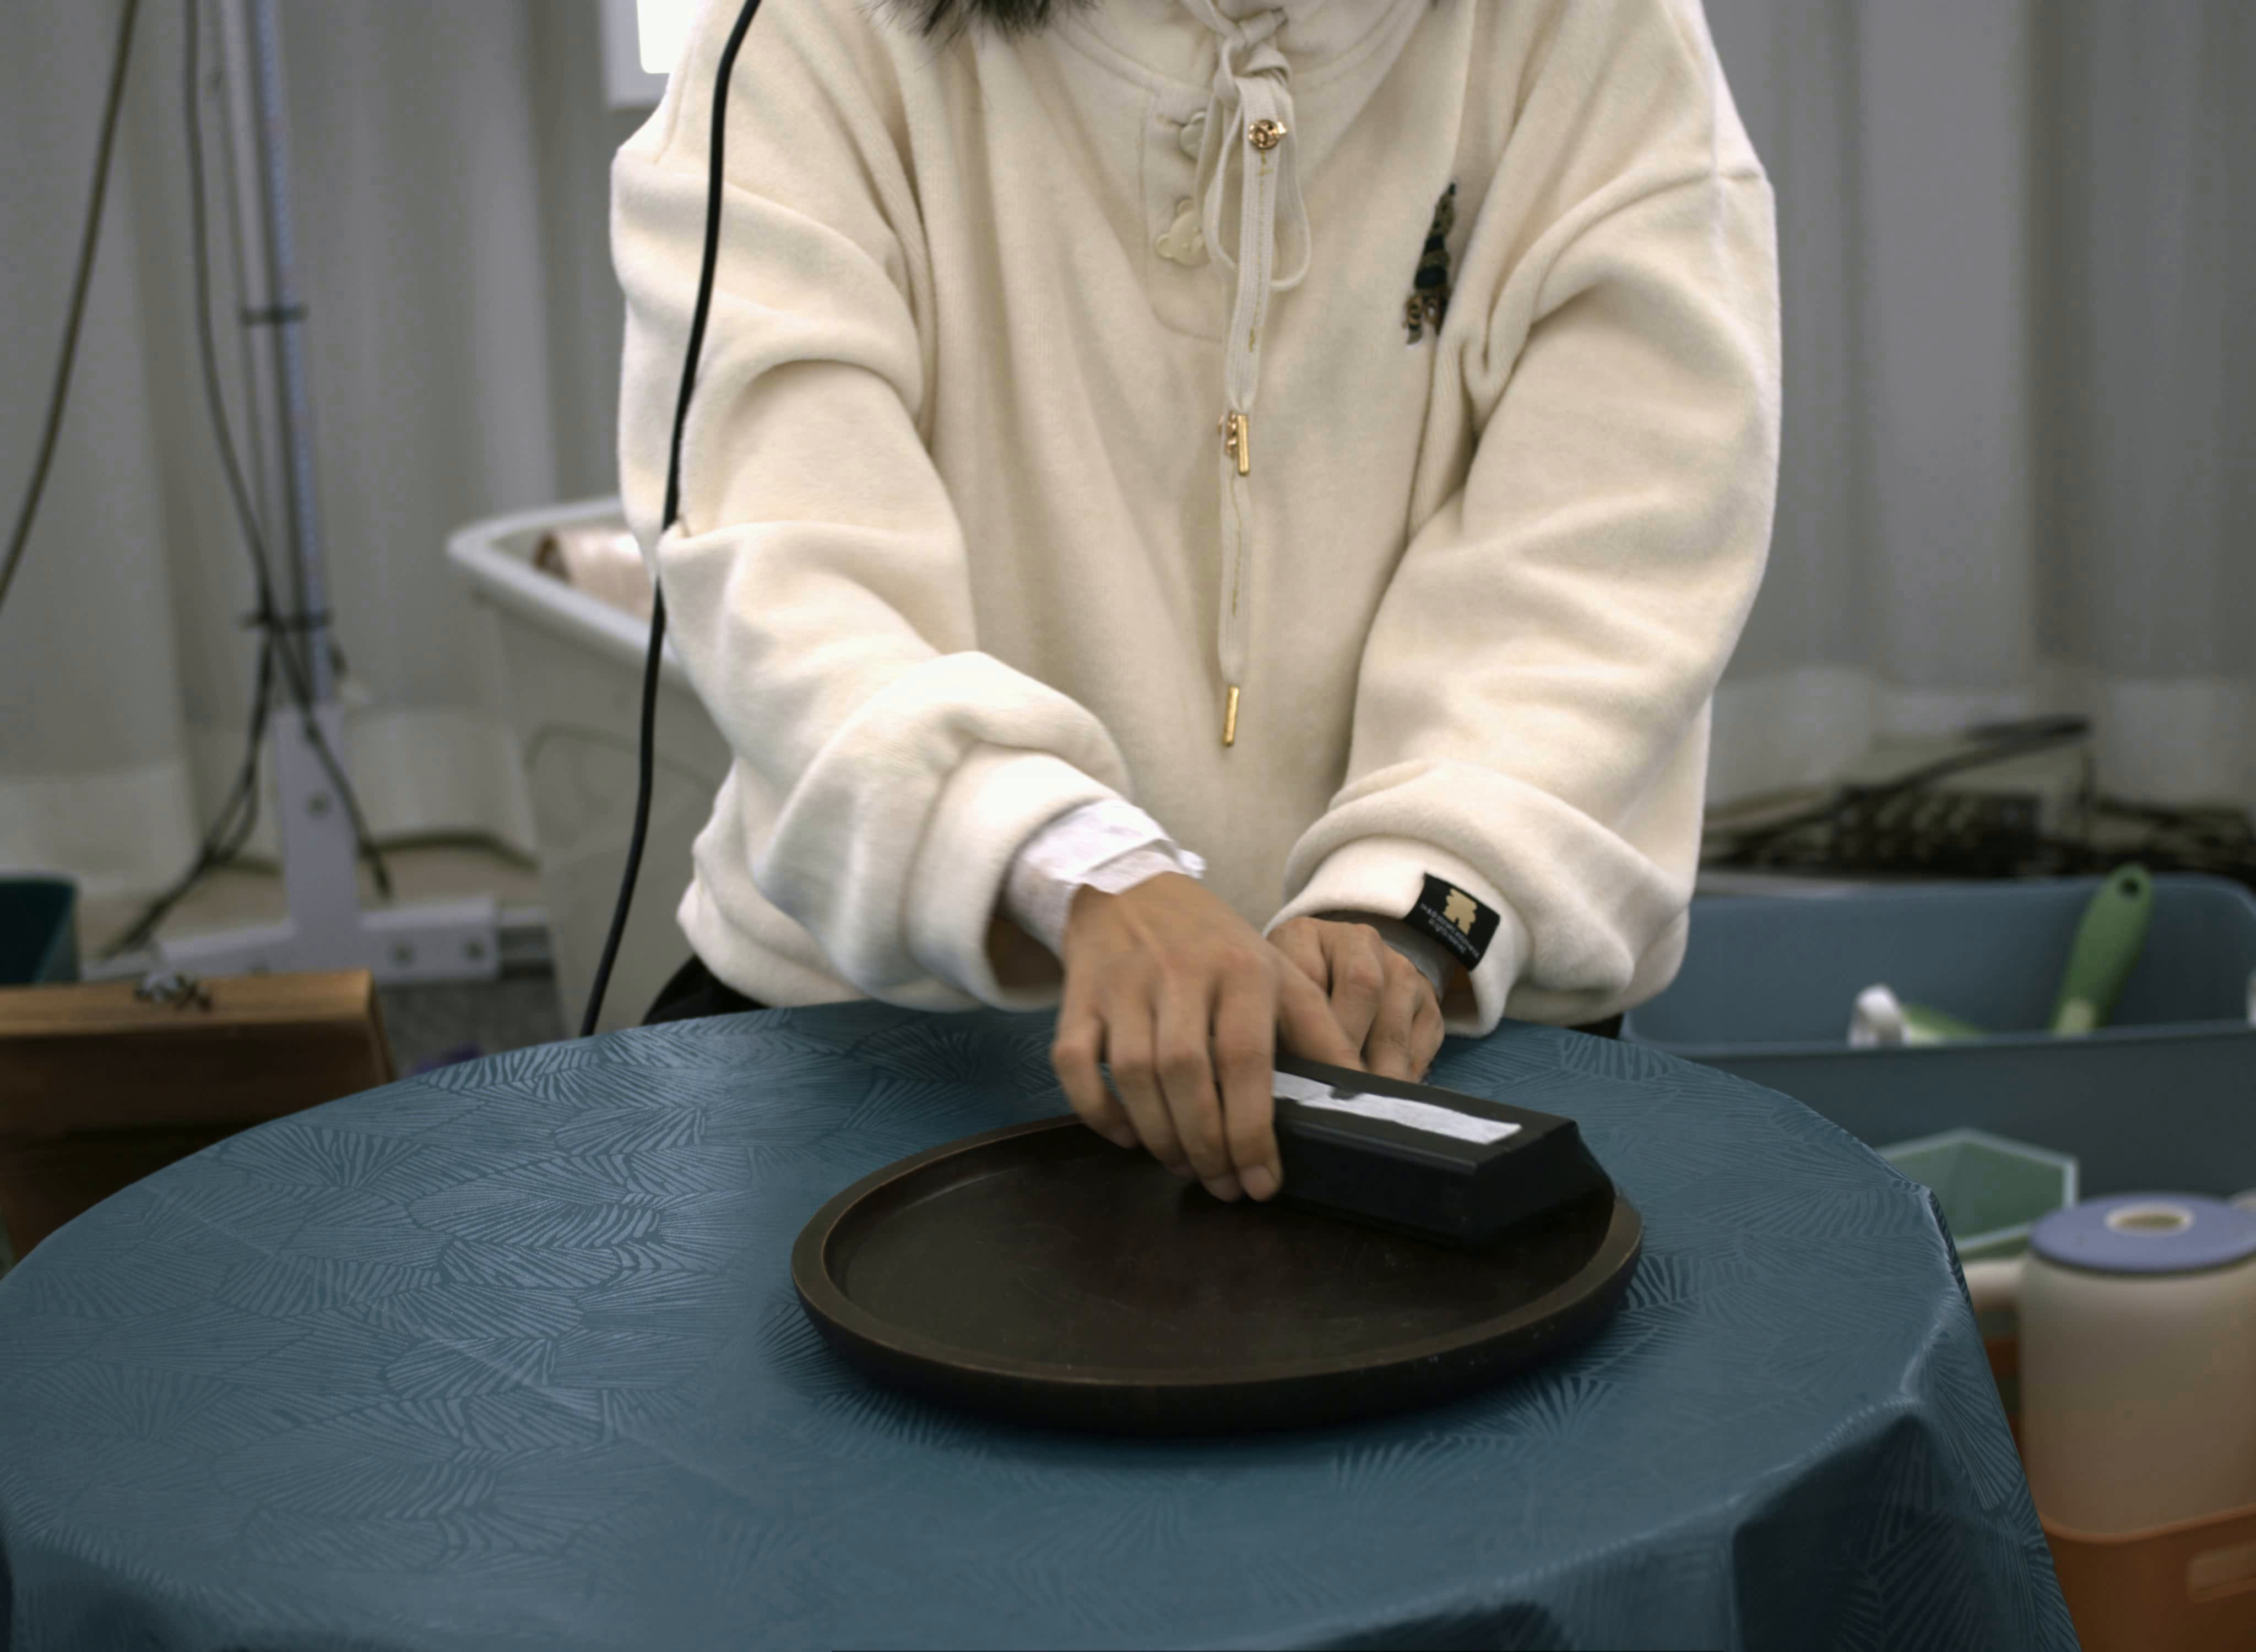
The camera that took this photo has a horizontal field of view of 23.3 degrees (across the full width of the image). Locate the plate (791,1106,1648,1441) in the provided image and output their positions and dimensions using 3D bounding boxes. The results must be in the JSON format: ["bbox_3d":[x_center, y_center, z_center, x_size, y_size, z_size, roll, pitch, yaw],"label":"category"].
[{"bbox_3d":[0.027,0.128,1.611,0.254,0.029,0.256,-3,16,1],"label":"plate"}]

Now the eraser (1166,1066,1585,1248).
[{"bbox_3d":[0.075,0.099,1.655,0.126,0.030,0.053,9,17,41],"label":"eraser"}]
